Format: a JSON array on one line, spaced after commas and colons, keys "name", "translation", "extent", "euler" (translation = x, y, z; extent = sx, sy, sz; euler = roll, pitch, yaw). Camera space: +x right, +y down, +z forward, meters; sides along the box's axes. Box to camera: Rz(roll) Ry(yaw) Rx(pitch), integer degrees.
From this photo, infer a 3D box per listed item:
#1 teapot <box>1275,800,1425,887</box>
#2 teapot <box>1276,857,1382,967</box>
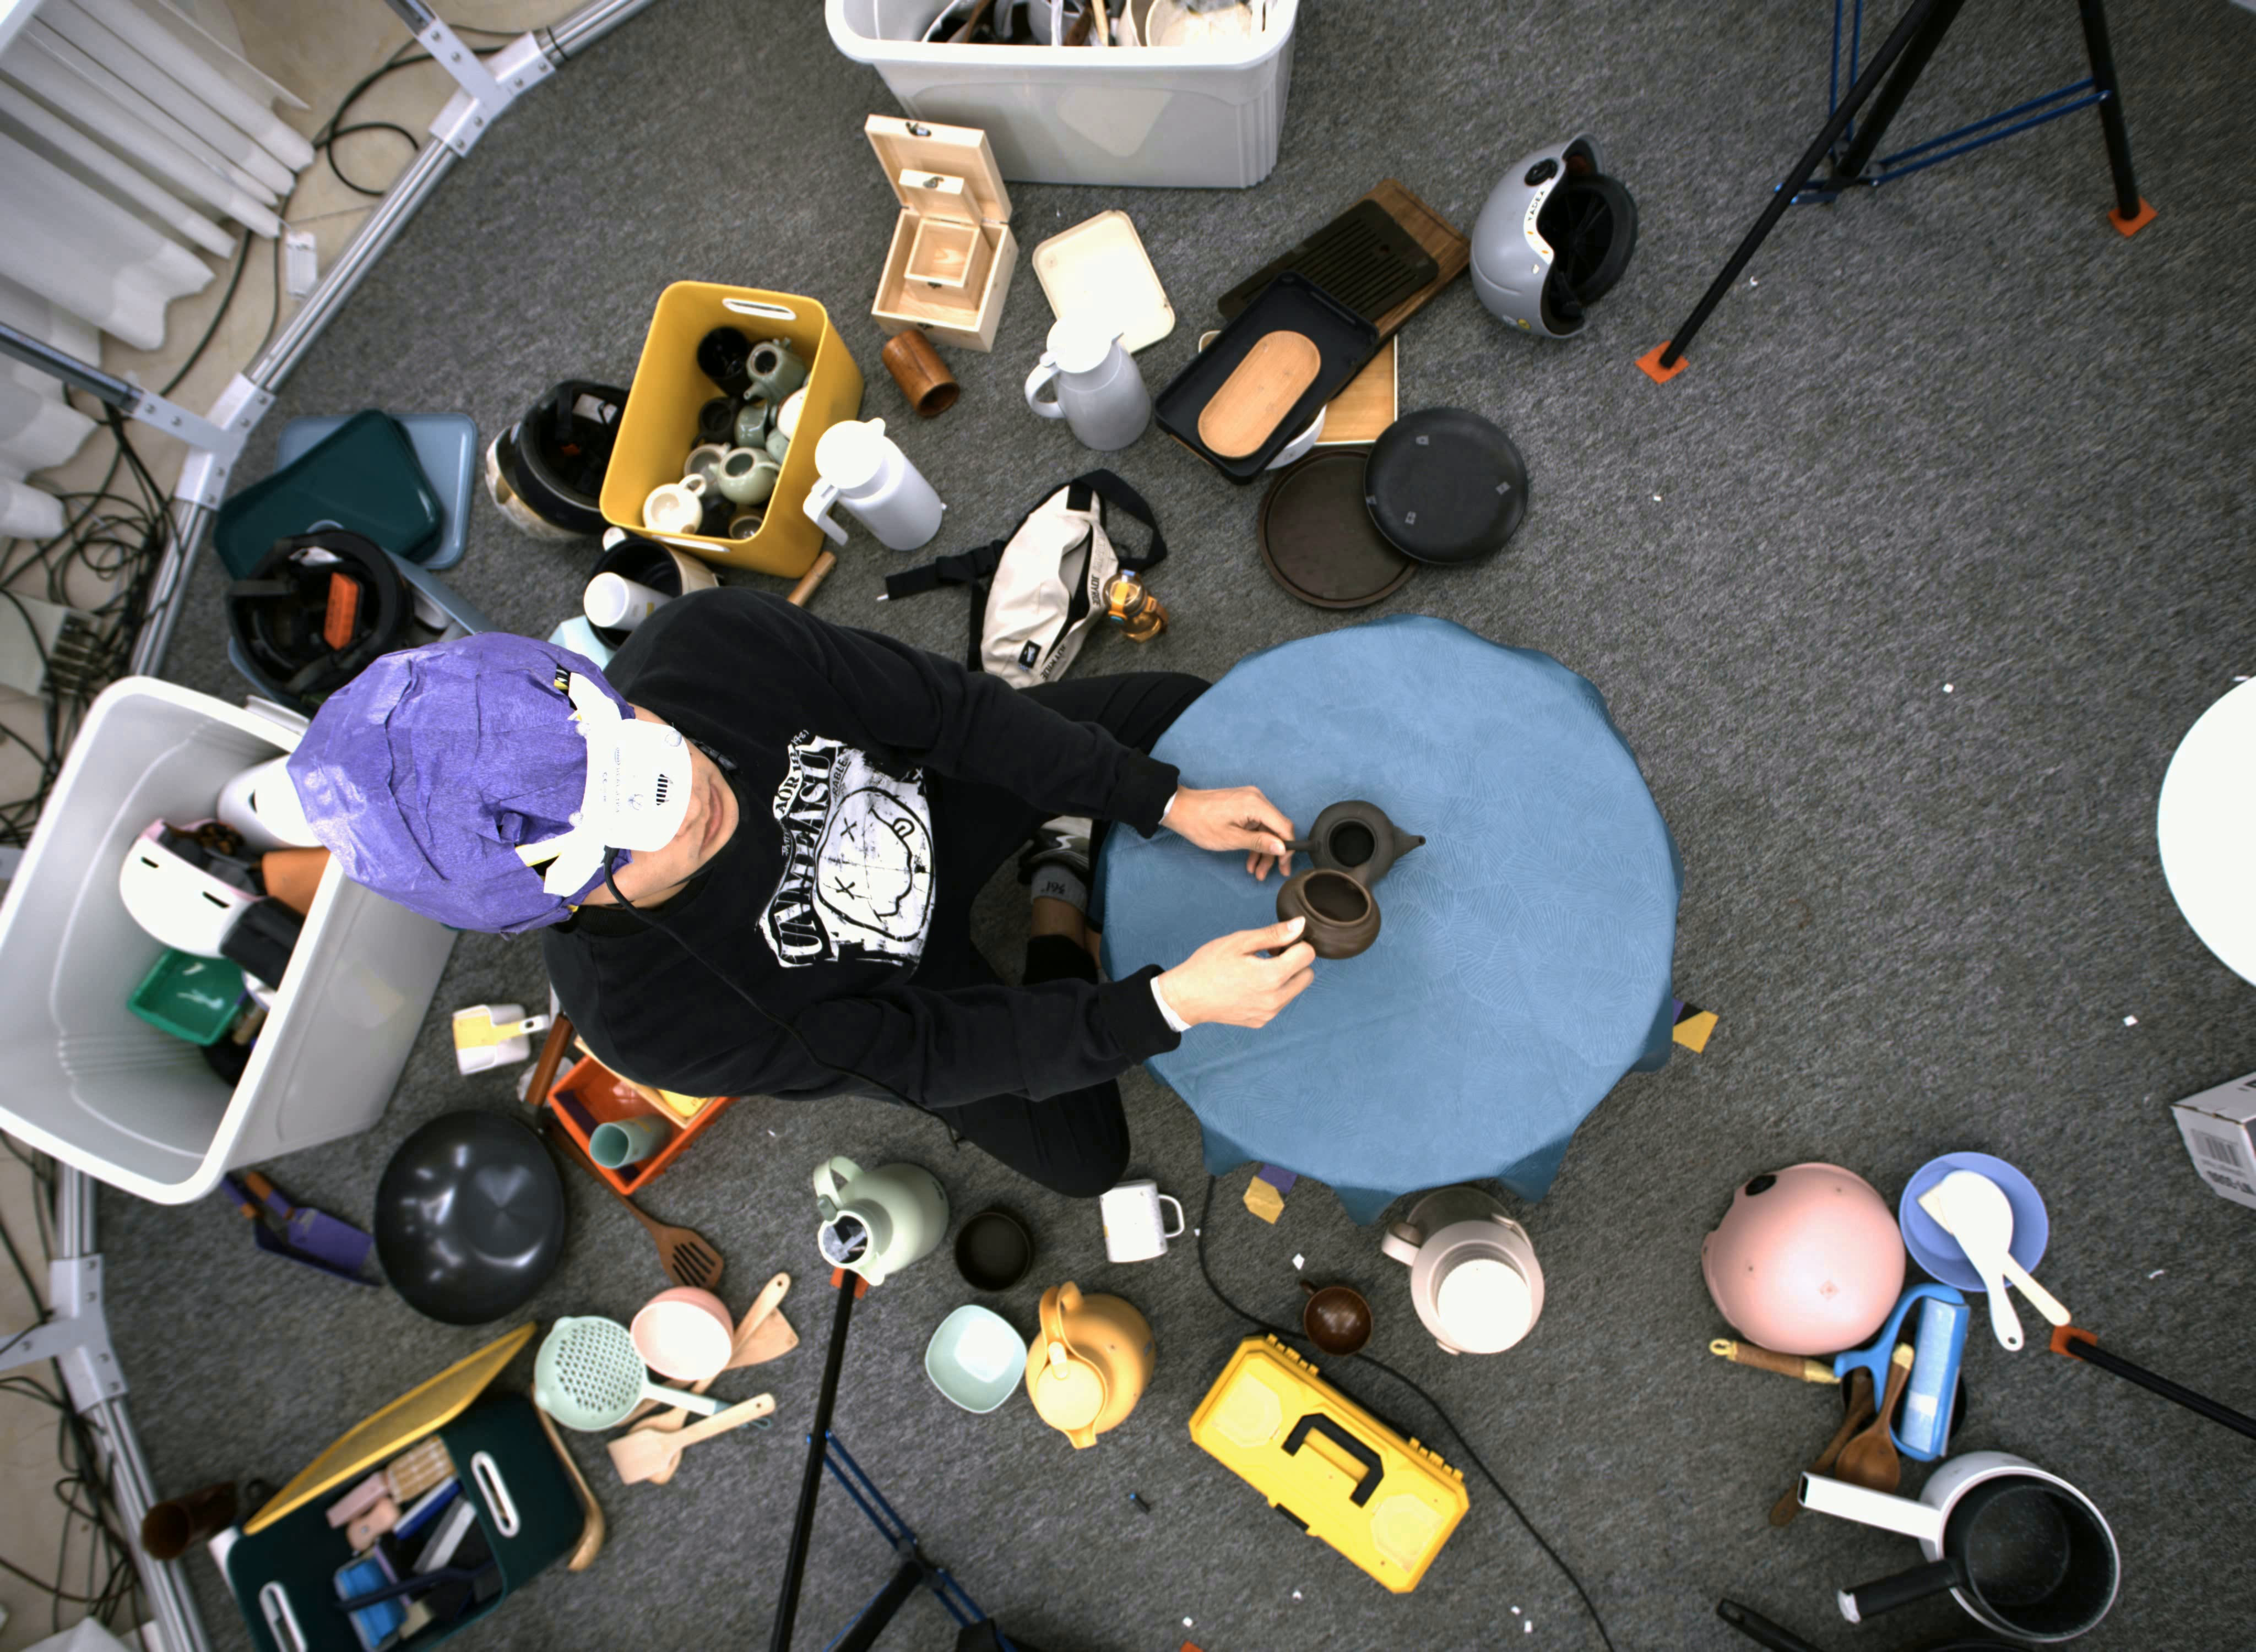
[{"name": "teapot", "translation": [0.229, 0.018, 1.426], "extent": [0.155, 0.064, 0.092], "euler": [-1, 87, 13]}, {"name": "teapot", "translation": [0.189, 0.084, 1.317], "extent": [0.102, 0.150, 0.055], "euler": [31, 137, 18]}]
